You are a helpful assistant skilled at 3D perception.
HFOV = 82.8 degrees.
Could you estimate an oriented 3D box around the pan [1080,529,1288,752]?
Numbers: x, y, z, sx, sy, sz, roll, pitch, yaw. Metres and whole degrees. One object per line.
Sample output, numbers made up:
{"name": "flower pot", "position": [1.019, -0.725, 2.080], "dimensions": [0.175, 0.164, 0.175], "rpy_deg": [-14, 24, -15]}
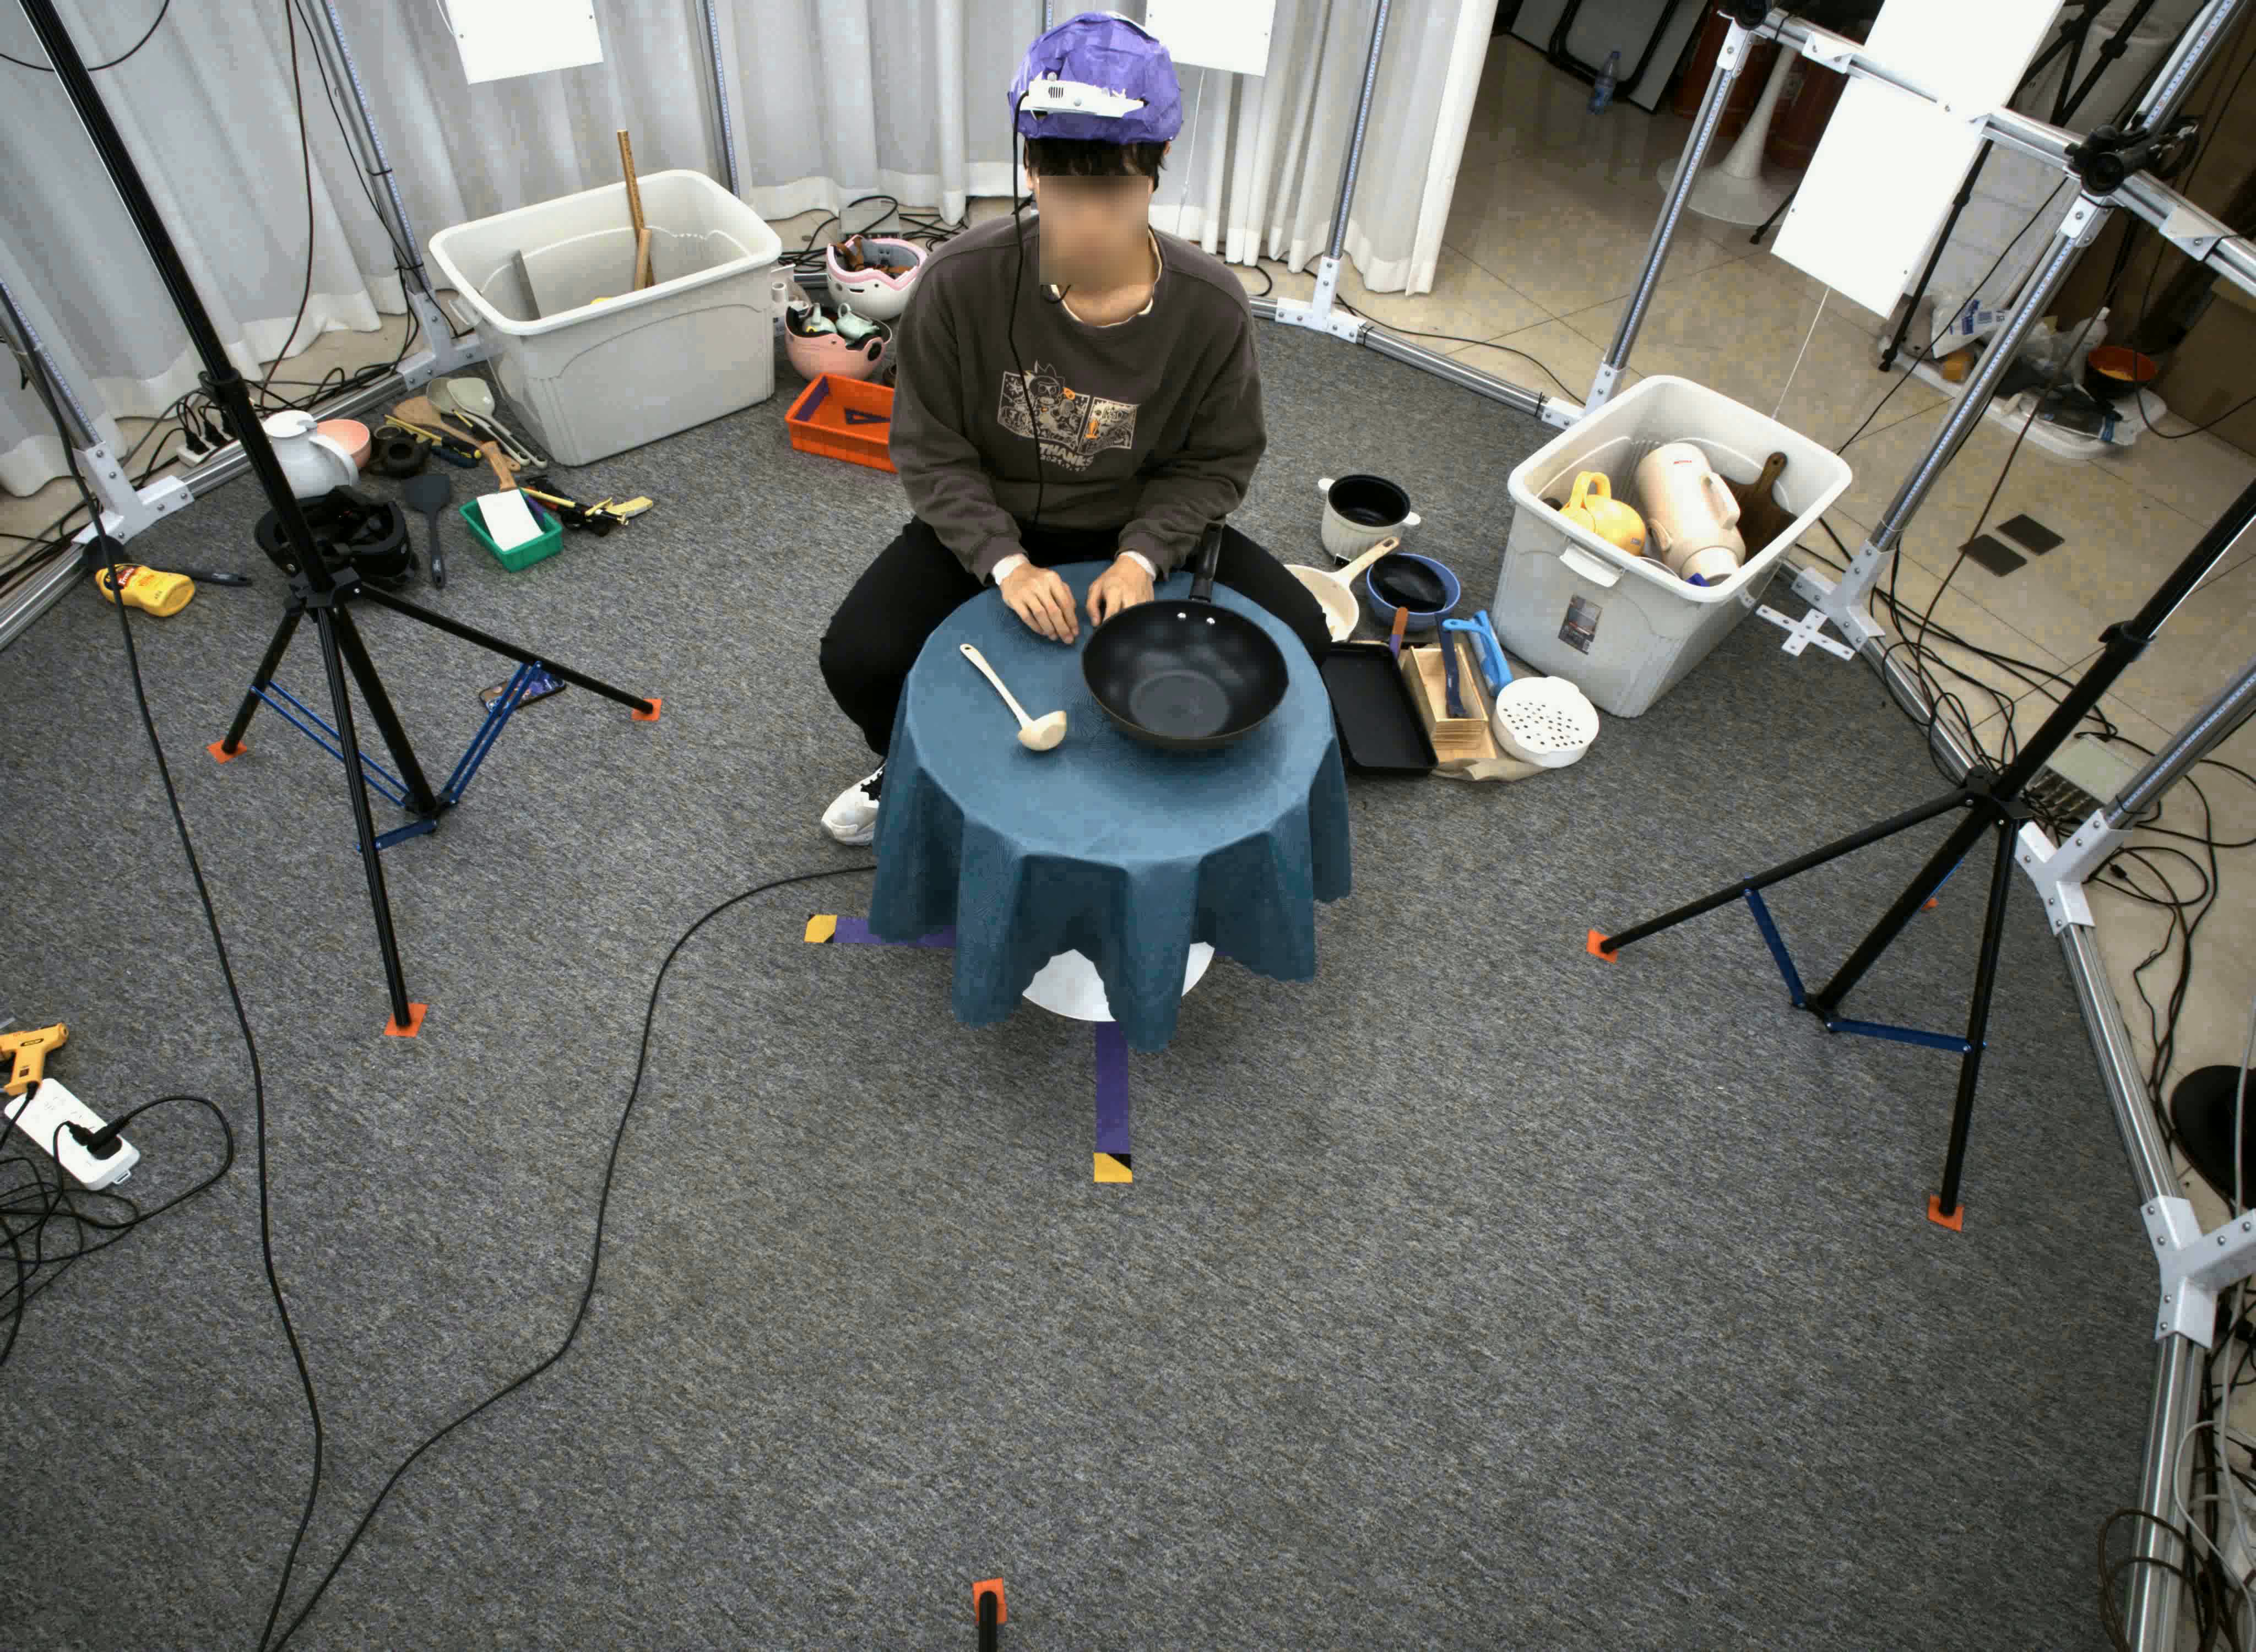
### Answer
{"name": "pan", "position": [0.090, -0.263, 1.847], "dimensions": [0.288, 0.085, 0.474], "rpy_deg": [9, 48, 5]}

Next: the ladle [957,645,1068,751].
{"name": "ladle", "position": [-0.172, -0.199, 1.782], "dimensions": [0.072, 0.071, 0.259], "rpy_deg": [-29, 57, -19]}
